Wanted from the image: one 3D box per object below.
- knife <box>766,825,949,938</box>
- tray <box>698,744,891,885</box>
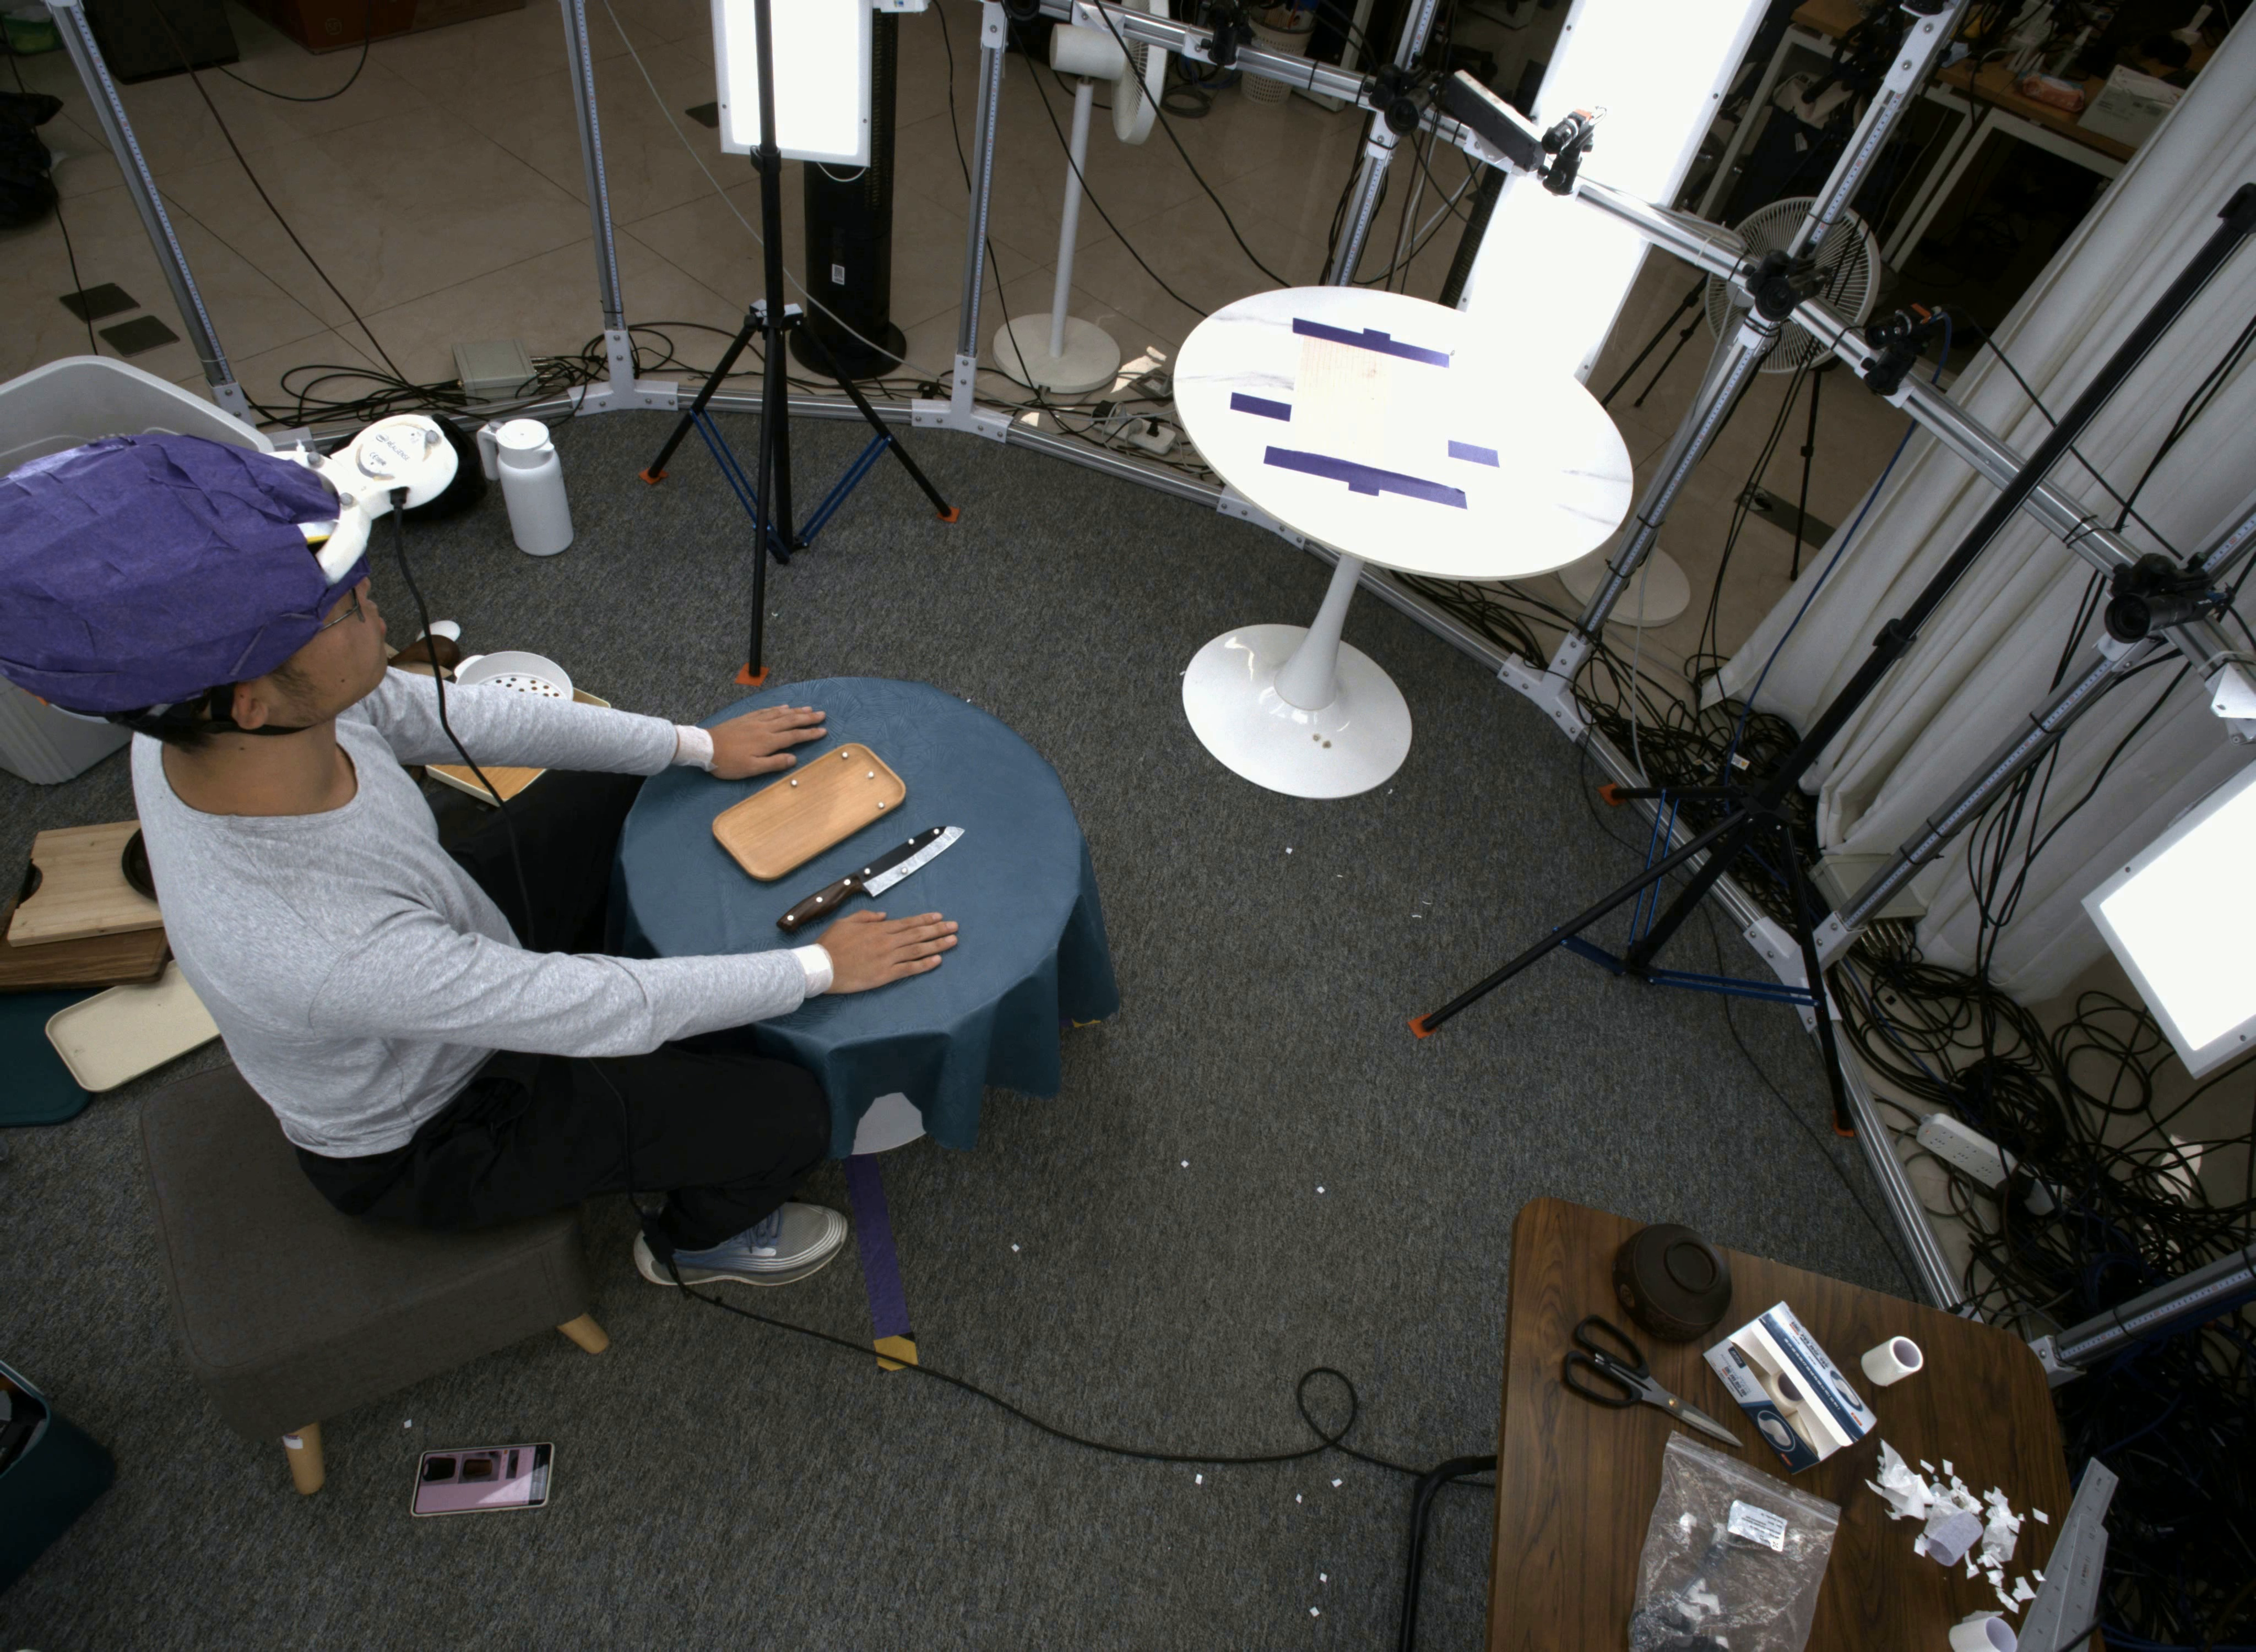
[{"bbox_3d":[-0.347,0.066,1.697,0.290,0.020,0.049,-33,72,-34],"label":"knife"},{"bbox_3d":[-0.444,-0.018,1.734,0.127,0.023,0.251,42,56,20],"label":"tray"}]
